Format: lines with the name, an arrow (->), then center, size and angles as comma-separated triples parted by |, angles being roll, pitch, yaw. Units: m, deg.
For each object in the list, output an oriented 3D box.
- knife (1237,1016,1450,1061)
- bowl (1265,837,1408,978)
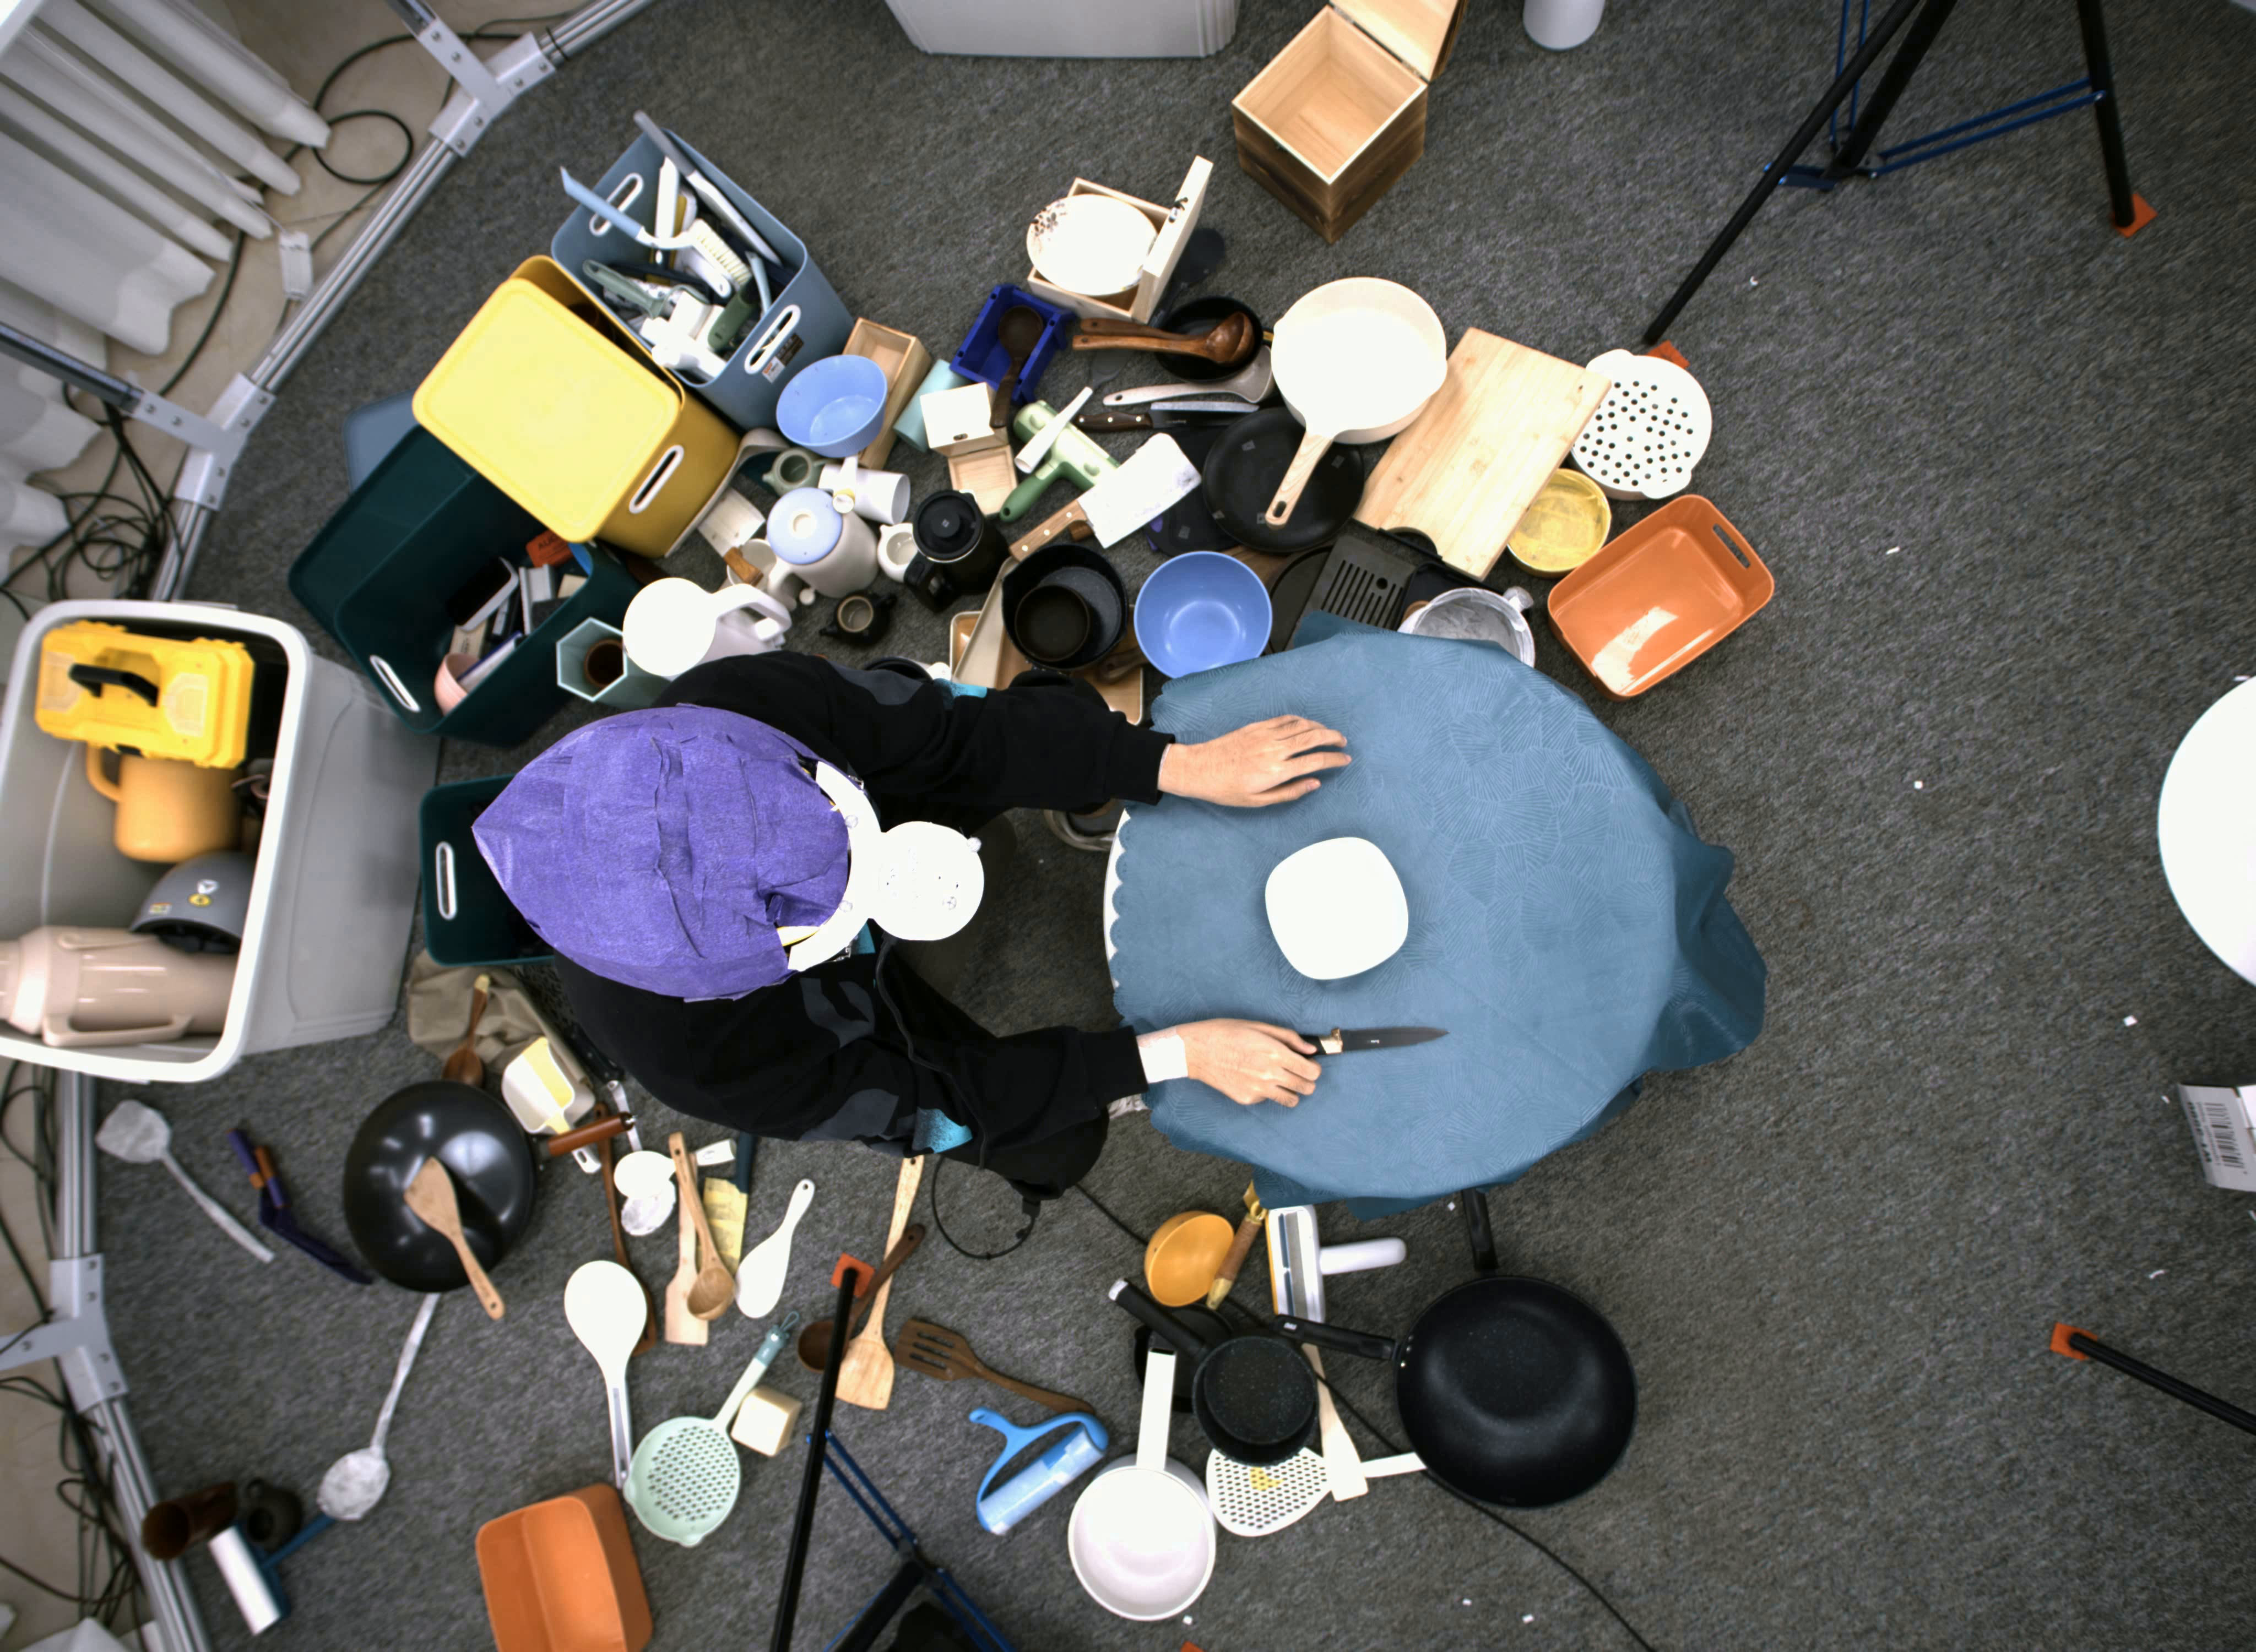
knife -> 0.226, 0.222, 1.454 | 0.226, 0.017, 0.026 | -9, 74, 9
bowl -> 0.217, 0.085, 1.441 | 0.152, 0.058, 0.151 | -1, 88, 10
